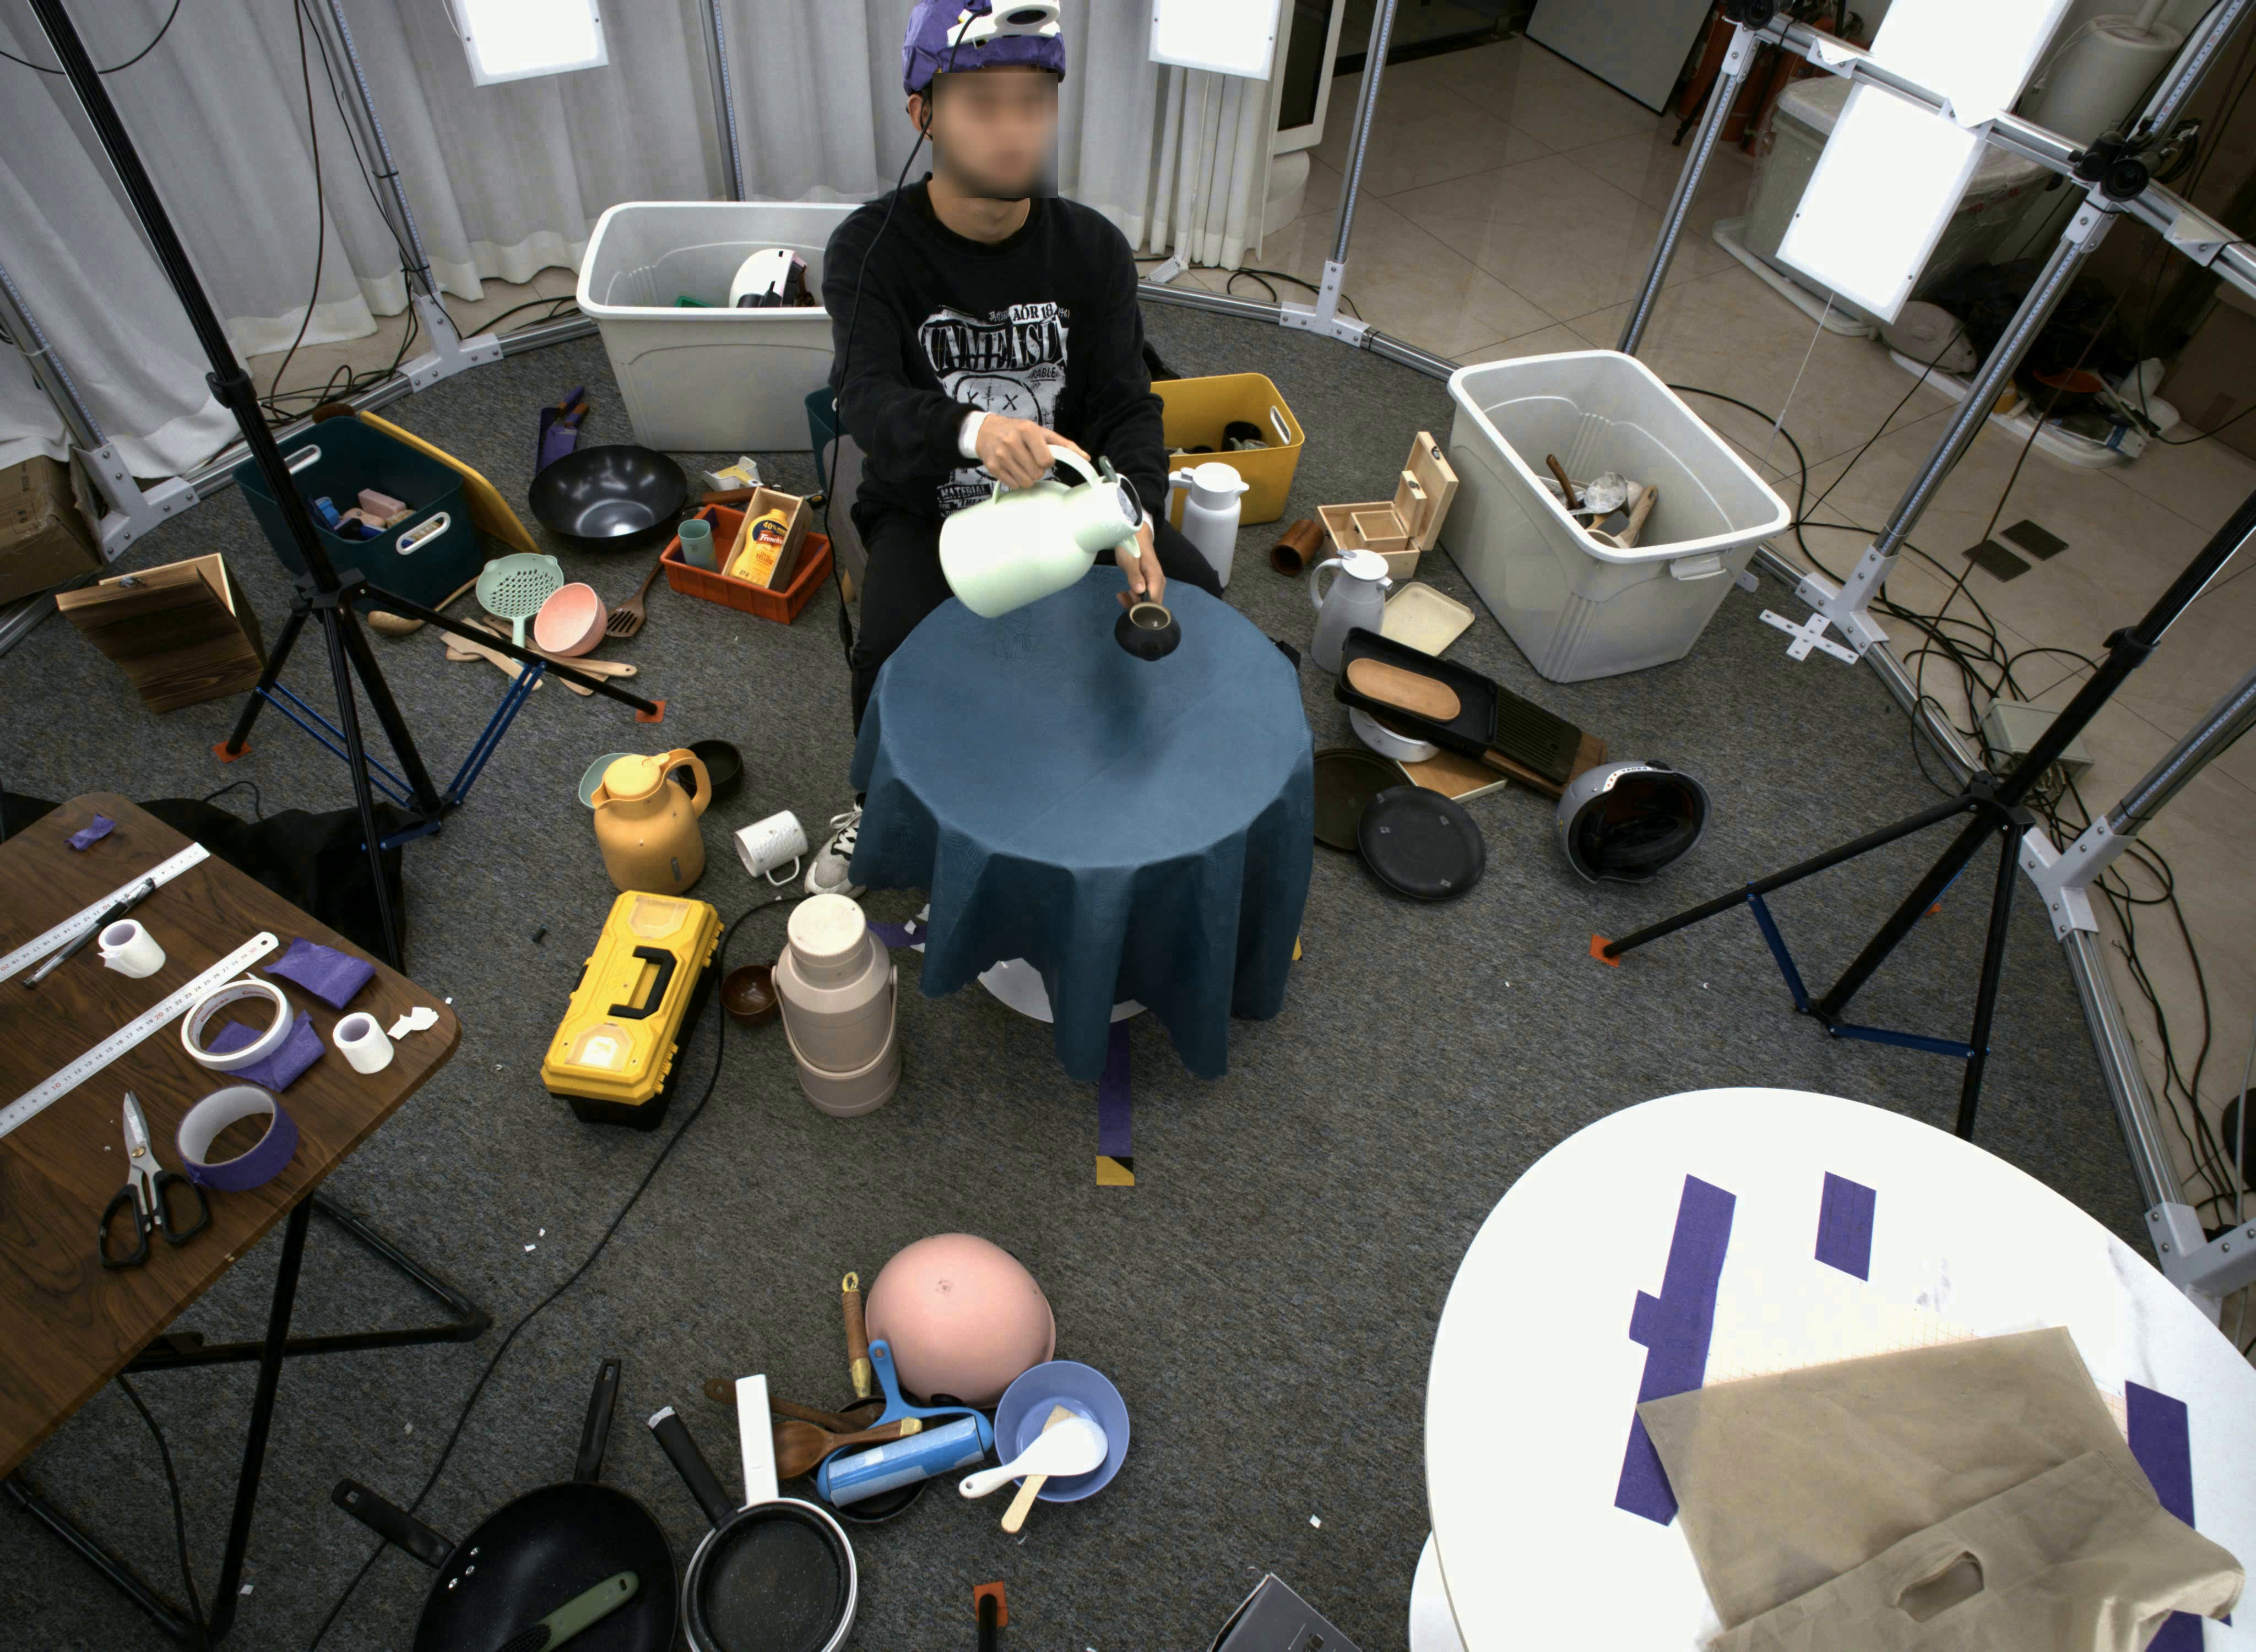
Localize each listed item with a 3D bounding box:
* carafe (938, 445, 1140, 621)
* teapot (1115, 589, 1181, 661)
[{"bbox_3d":[-0.116,-0.378,1.637,0.255,0.183,0.147,-20,33,31],"label":"carafe"},{"bbox_3d":[0.027,-0.265,1.737,0.091,0.052,0.136,0,49,-9],"label":"teapot"}]
